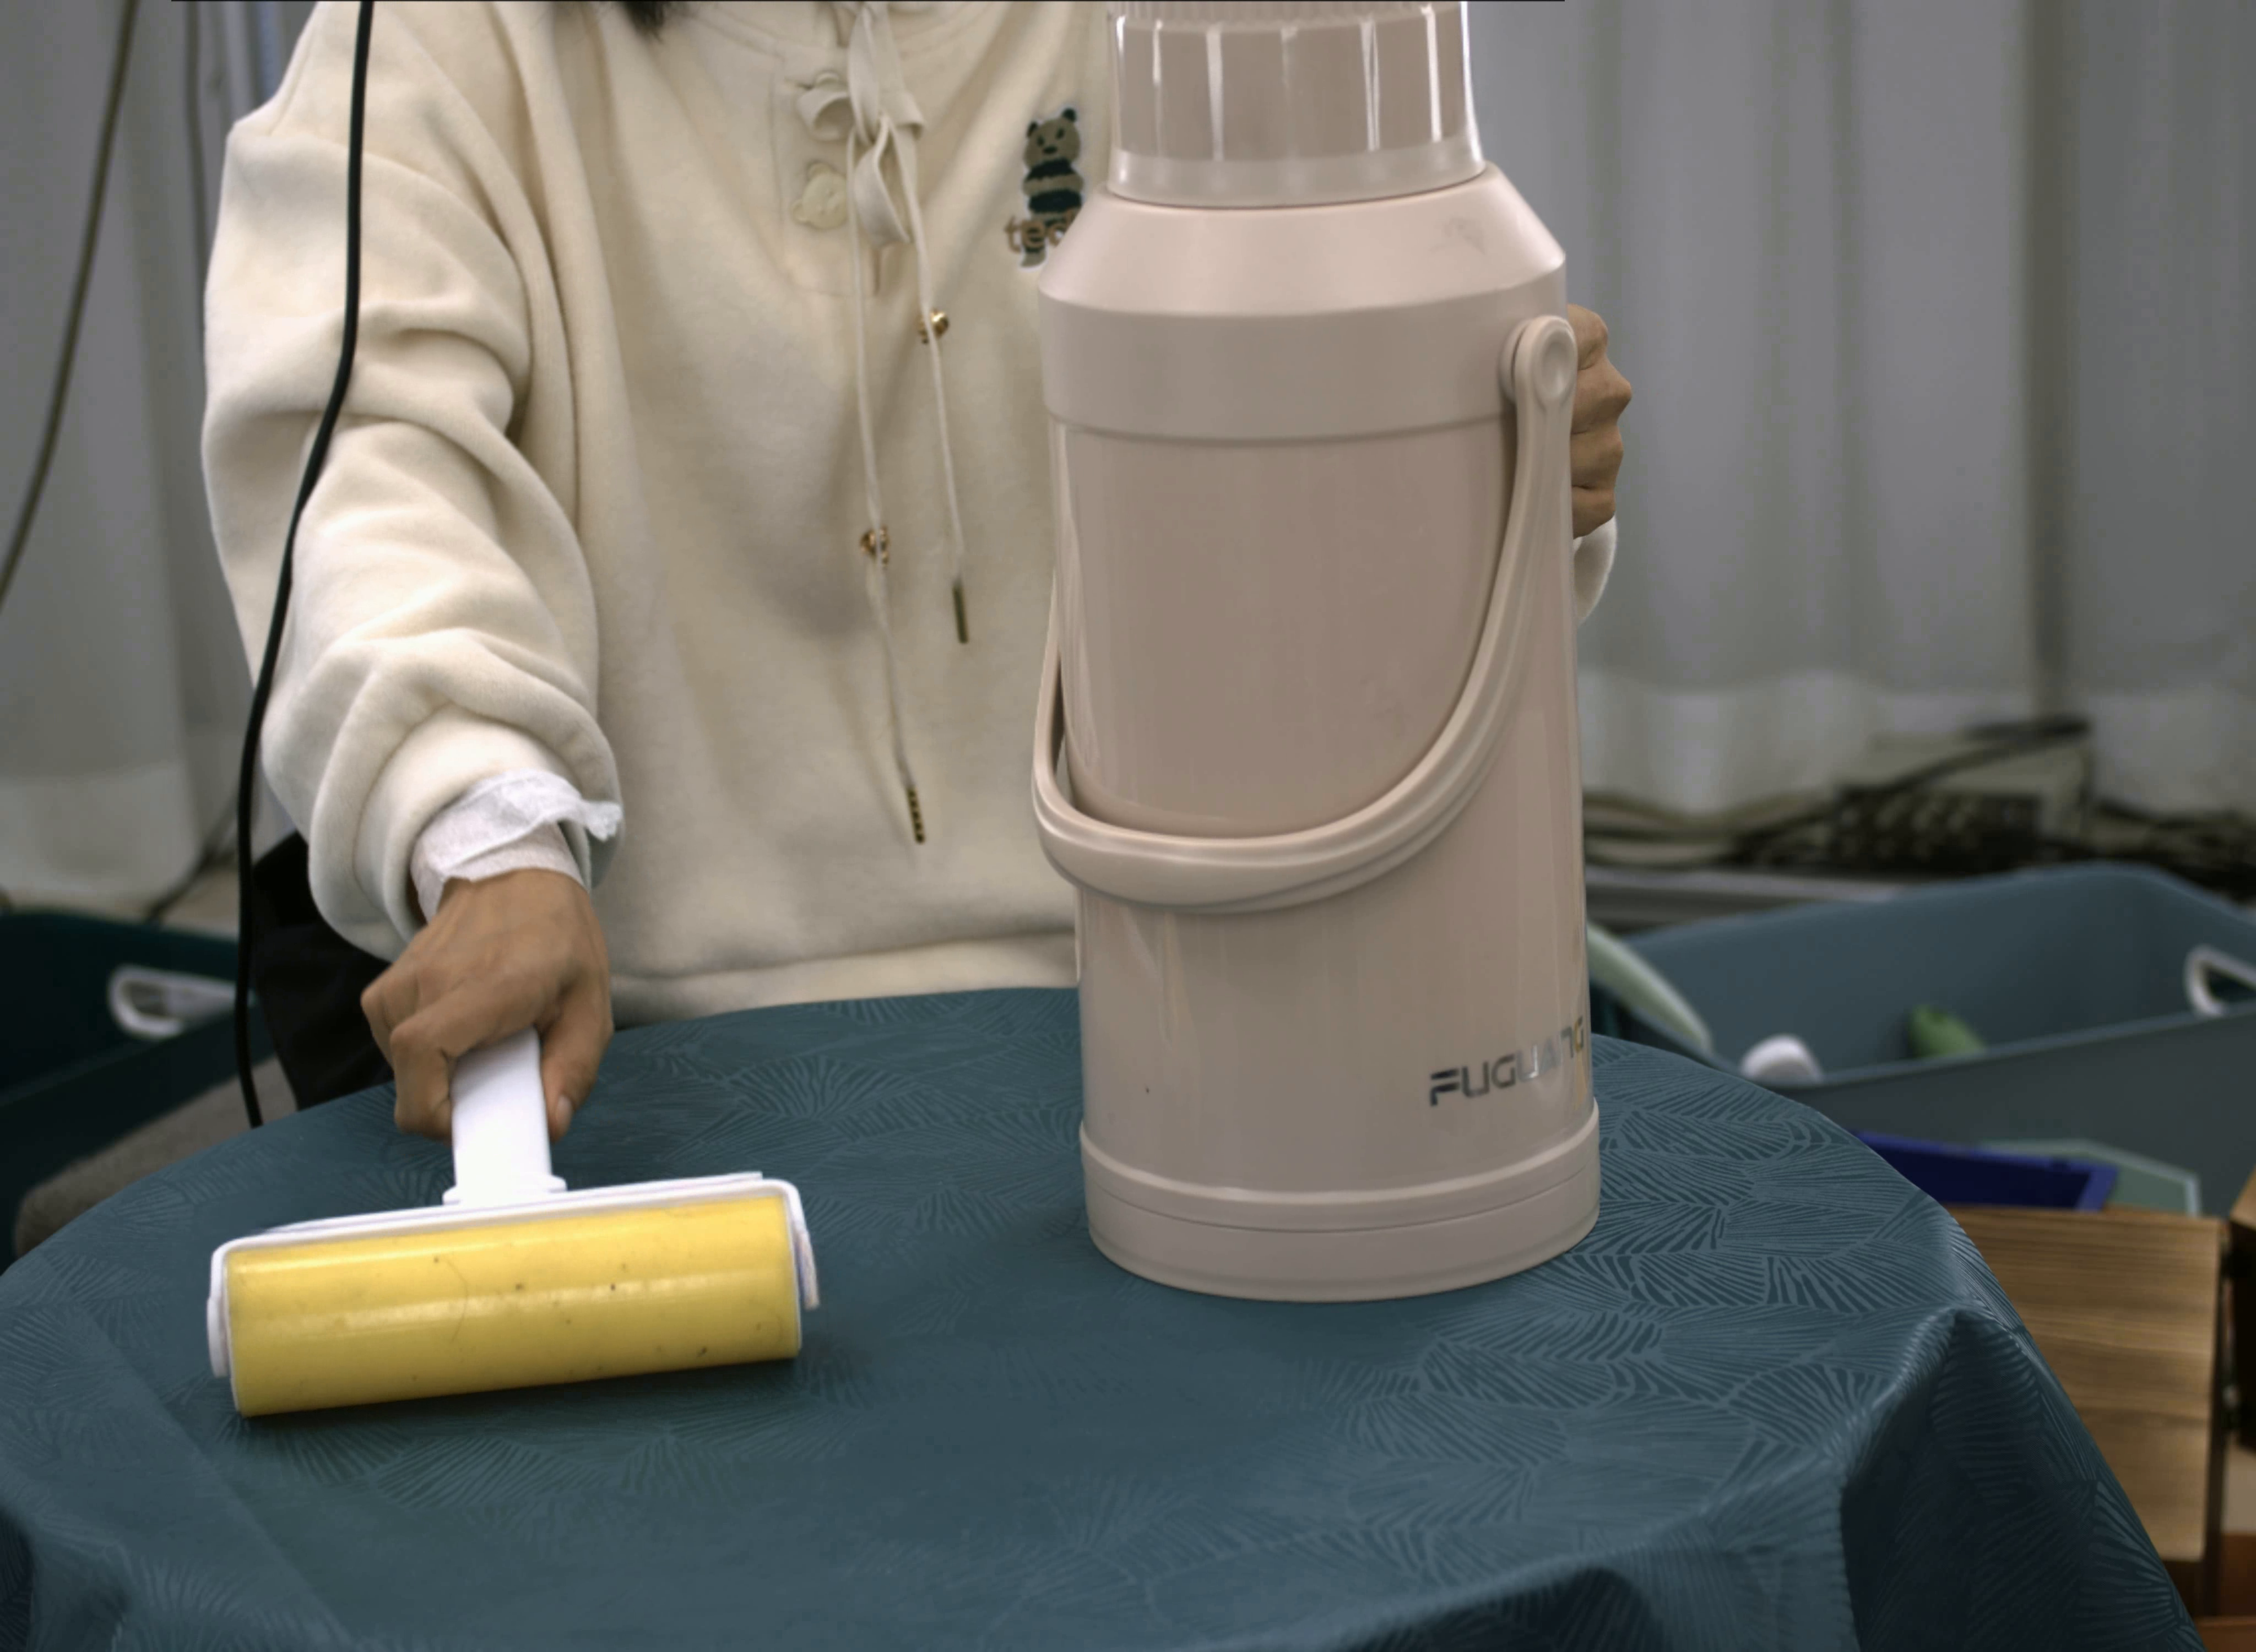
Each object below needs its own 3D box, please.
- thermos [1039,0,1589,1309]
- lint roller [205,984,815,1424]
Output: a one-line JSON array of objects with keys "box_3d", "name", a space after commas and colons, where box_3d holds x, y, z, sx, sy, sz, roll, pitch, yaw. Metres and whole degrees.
[{"box_3d": [0.065, -0.073, 1.644, 0.176, 0.405, 0.207, 7, 16, 36], "name": "thermos"}, {"box_3d": [-0.188, 0.097, 1.623, 0.173, 0.051, 0.195, -6, 39, -7], "name": "lint roller"}]
